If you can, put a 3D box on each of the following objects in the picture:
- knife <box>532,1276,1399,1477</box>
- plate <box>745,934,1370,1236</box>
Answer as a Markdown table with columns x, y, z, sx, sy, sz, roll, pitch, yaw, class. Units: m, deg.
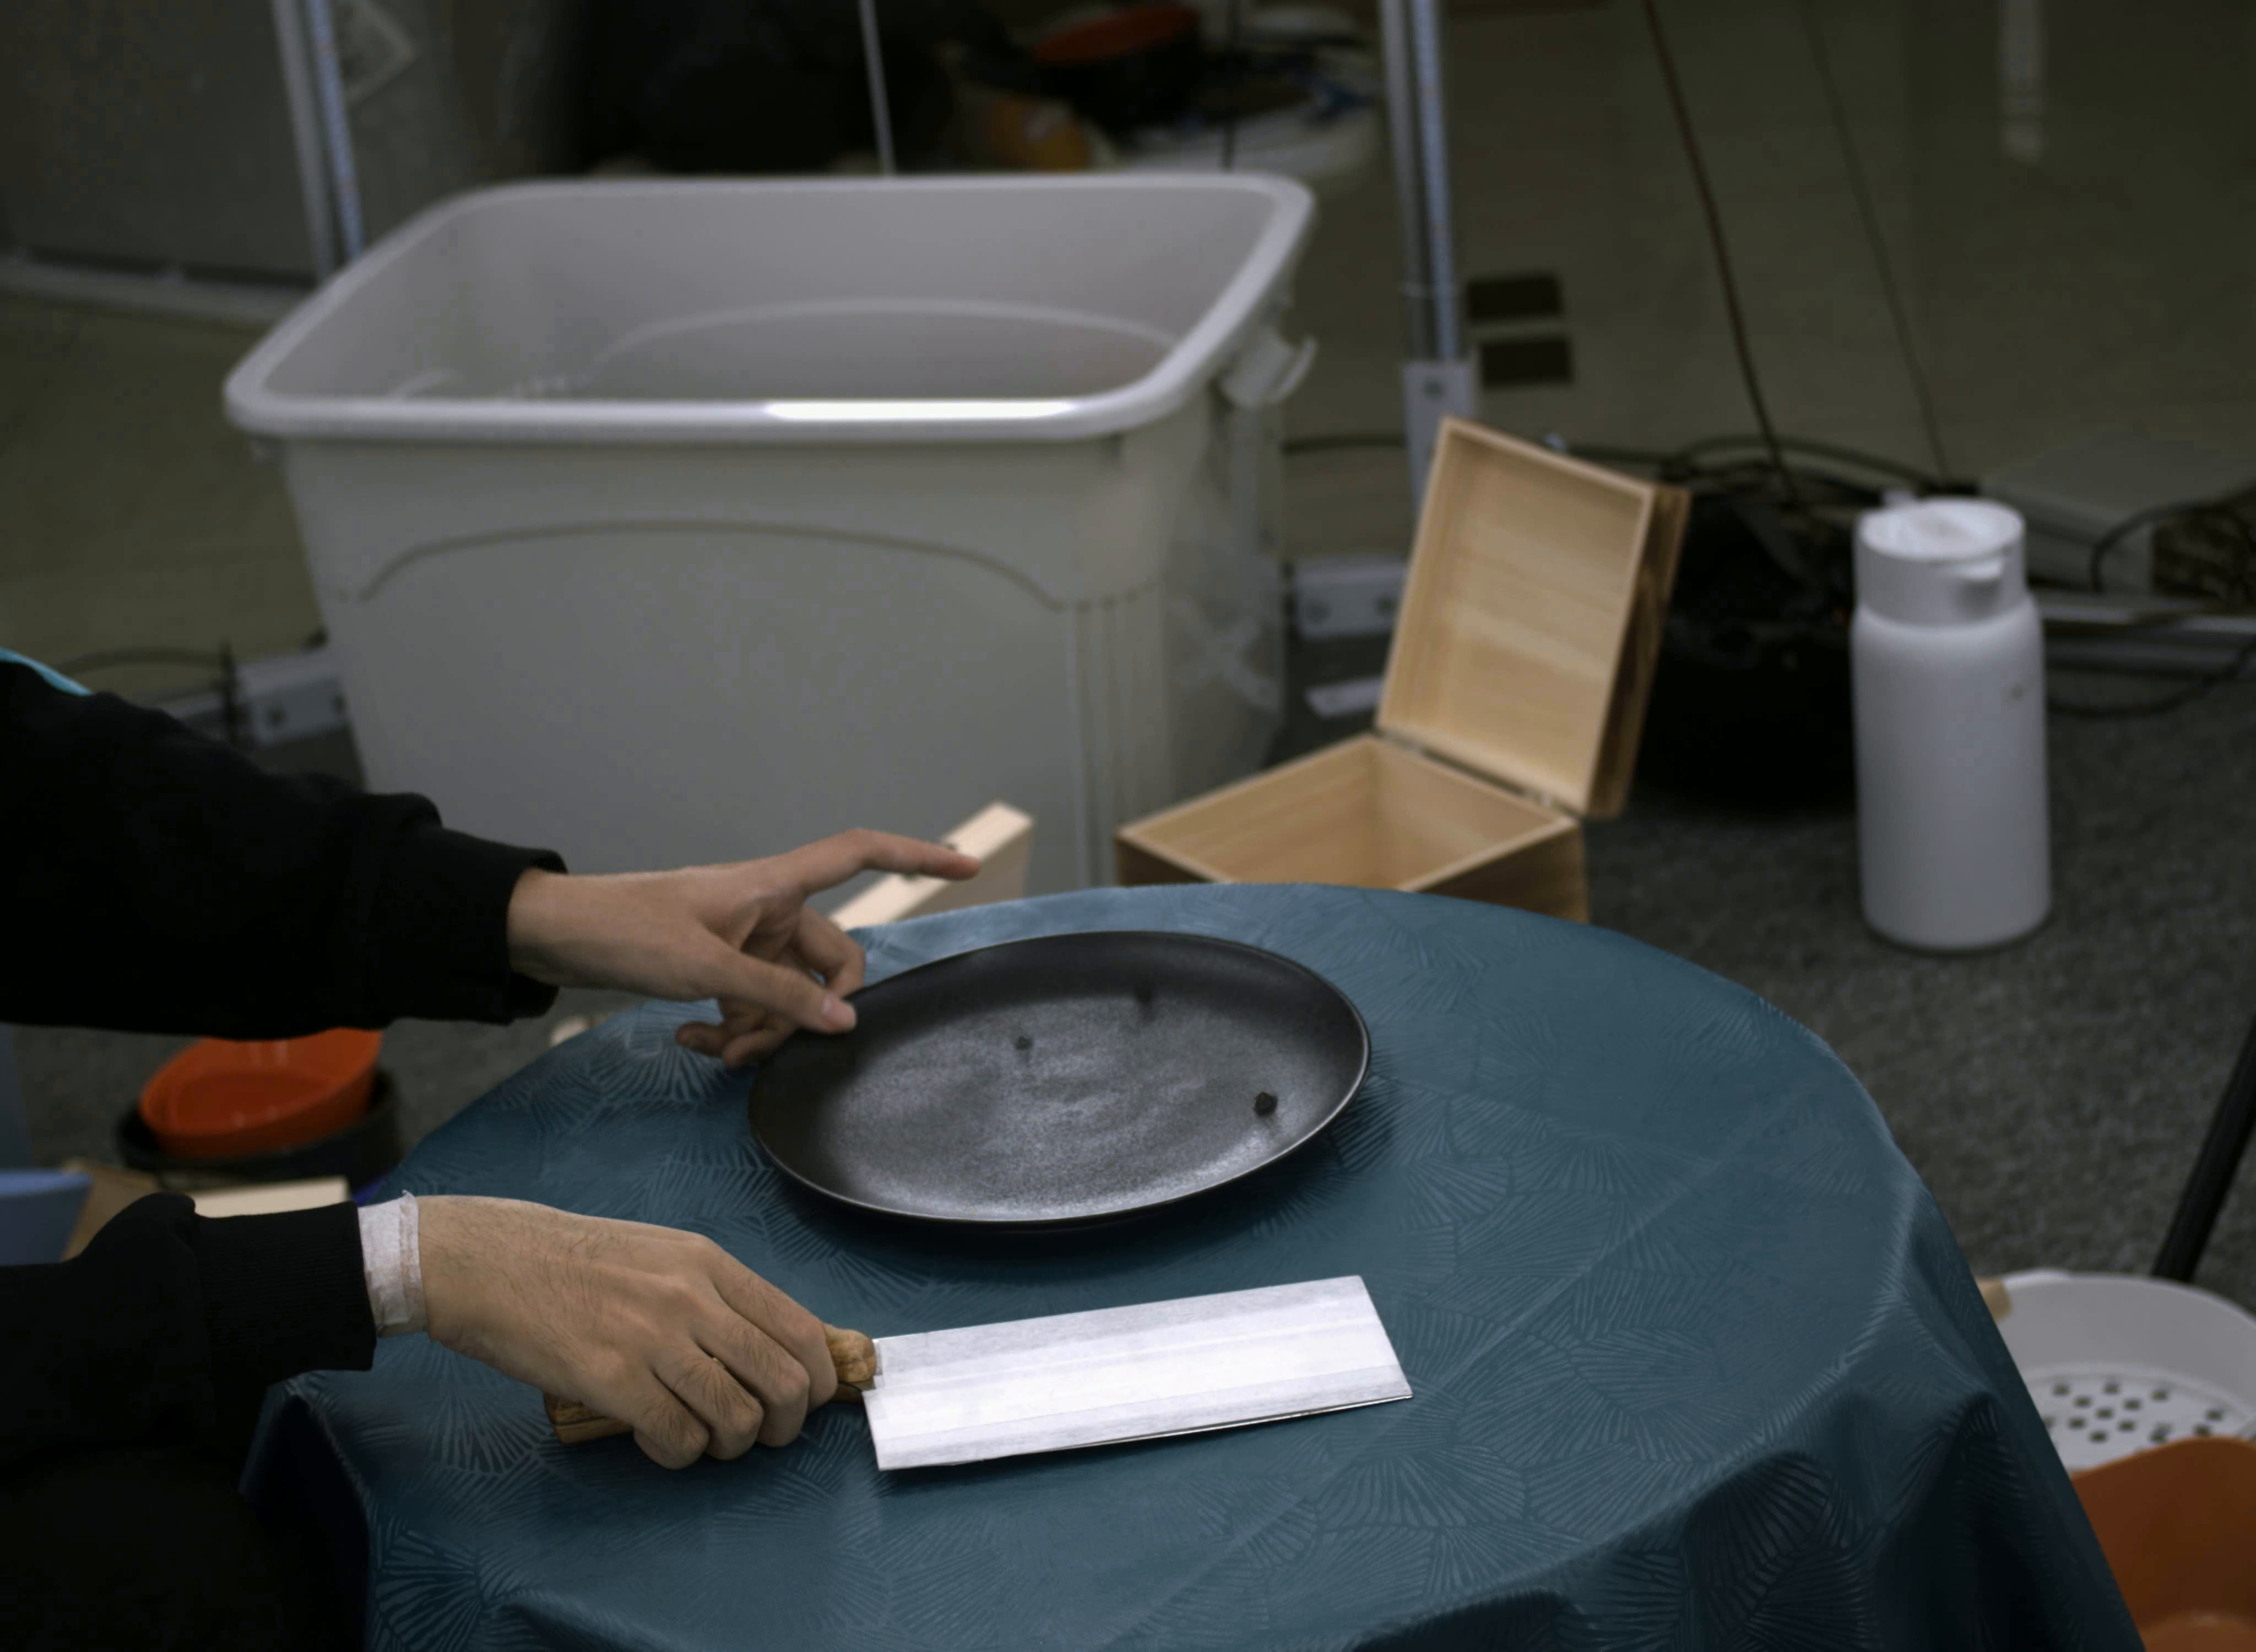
| x | y | z | sx | sy | sz | roll | pitch | yaw | class |
| --- | --- | --- | --- | --- | --- | --- | --- | --- | --- |
| -0.057 | 0.200 | 2.012 | 0.305 | 0.021 | 0.091 | -7 | 26 | -7 | knife |
| -0.027 | 0.105 | 2.198 | 0.244 | 0.024 | 0.241 | -5 | 25 | 3 | plate |
